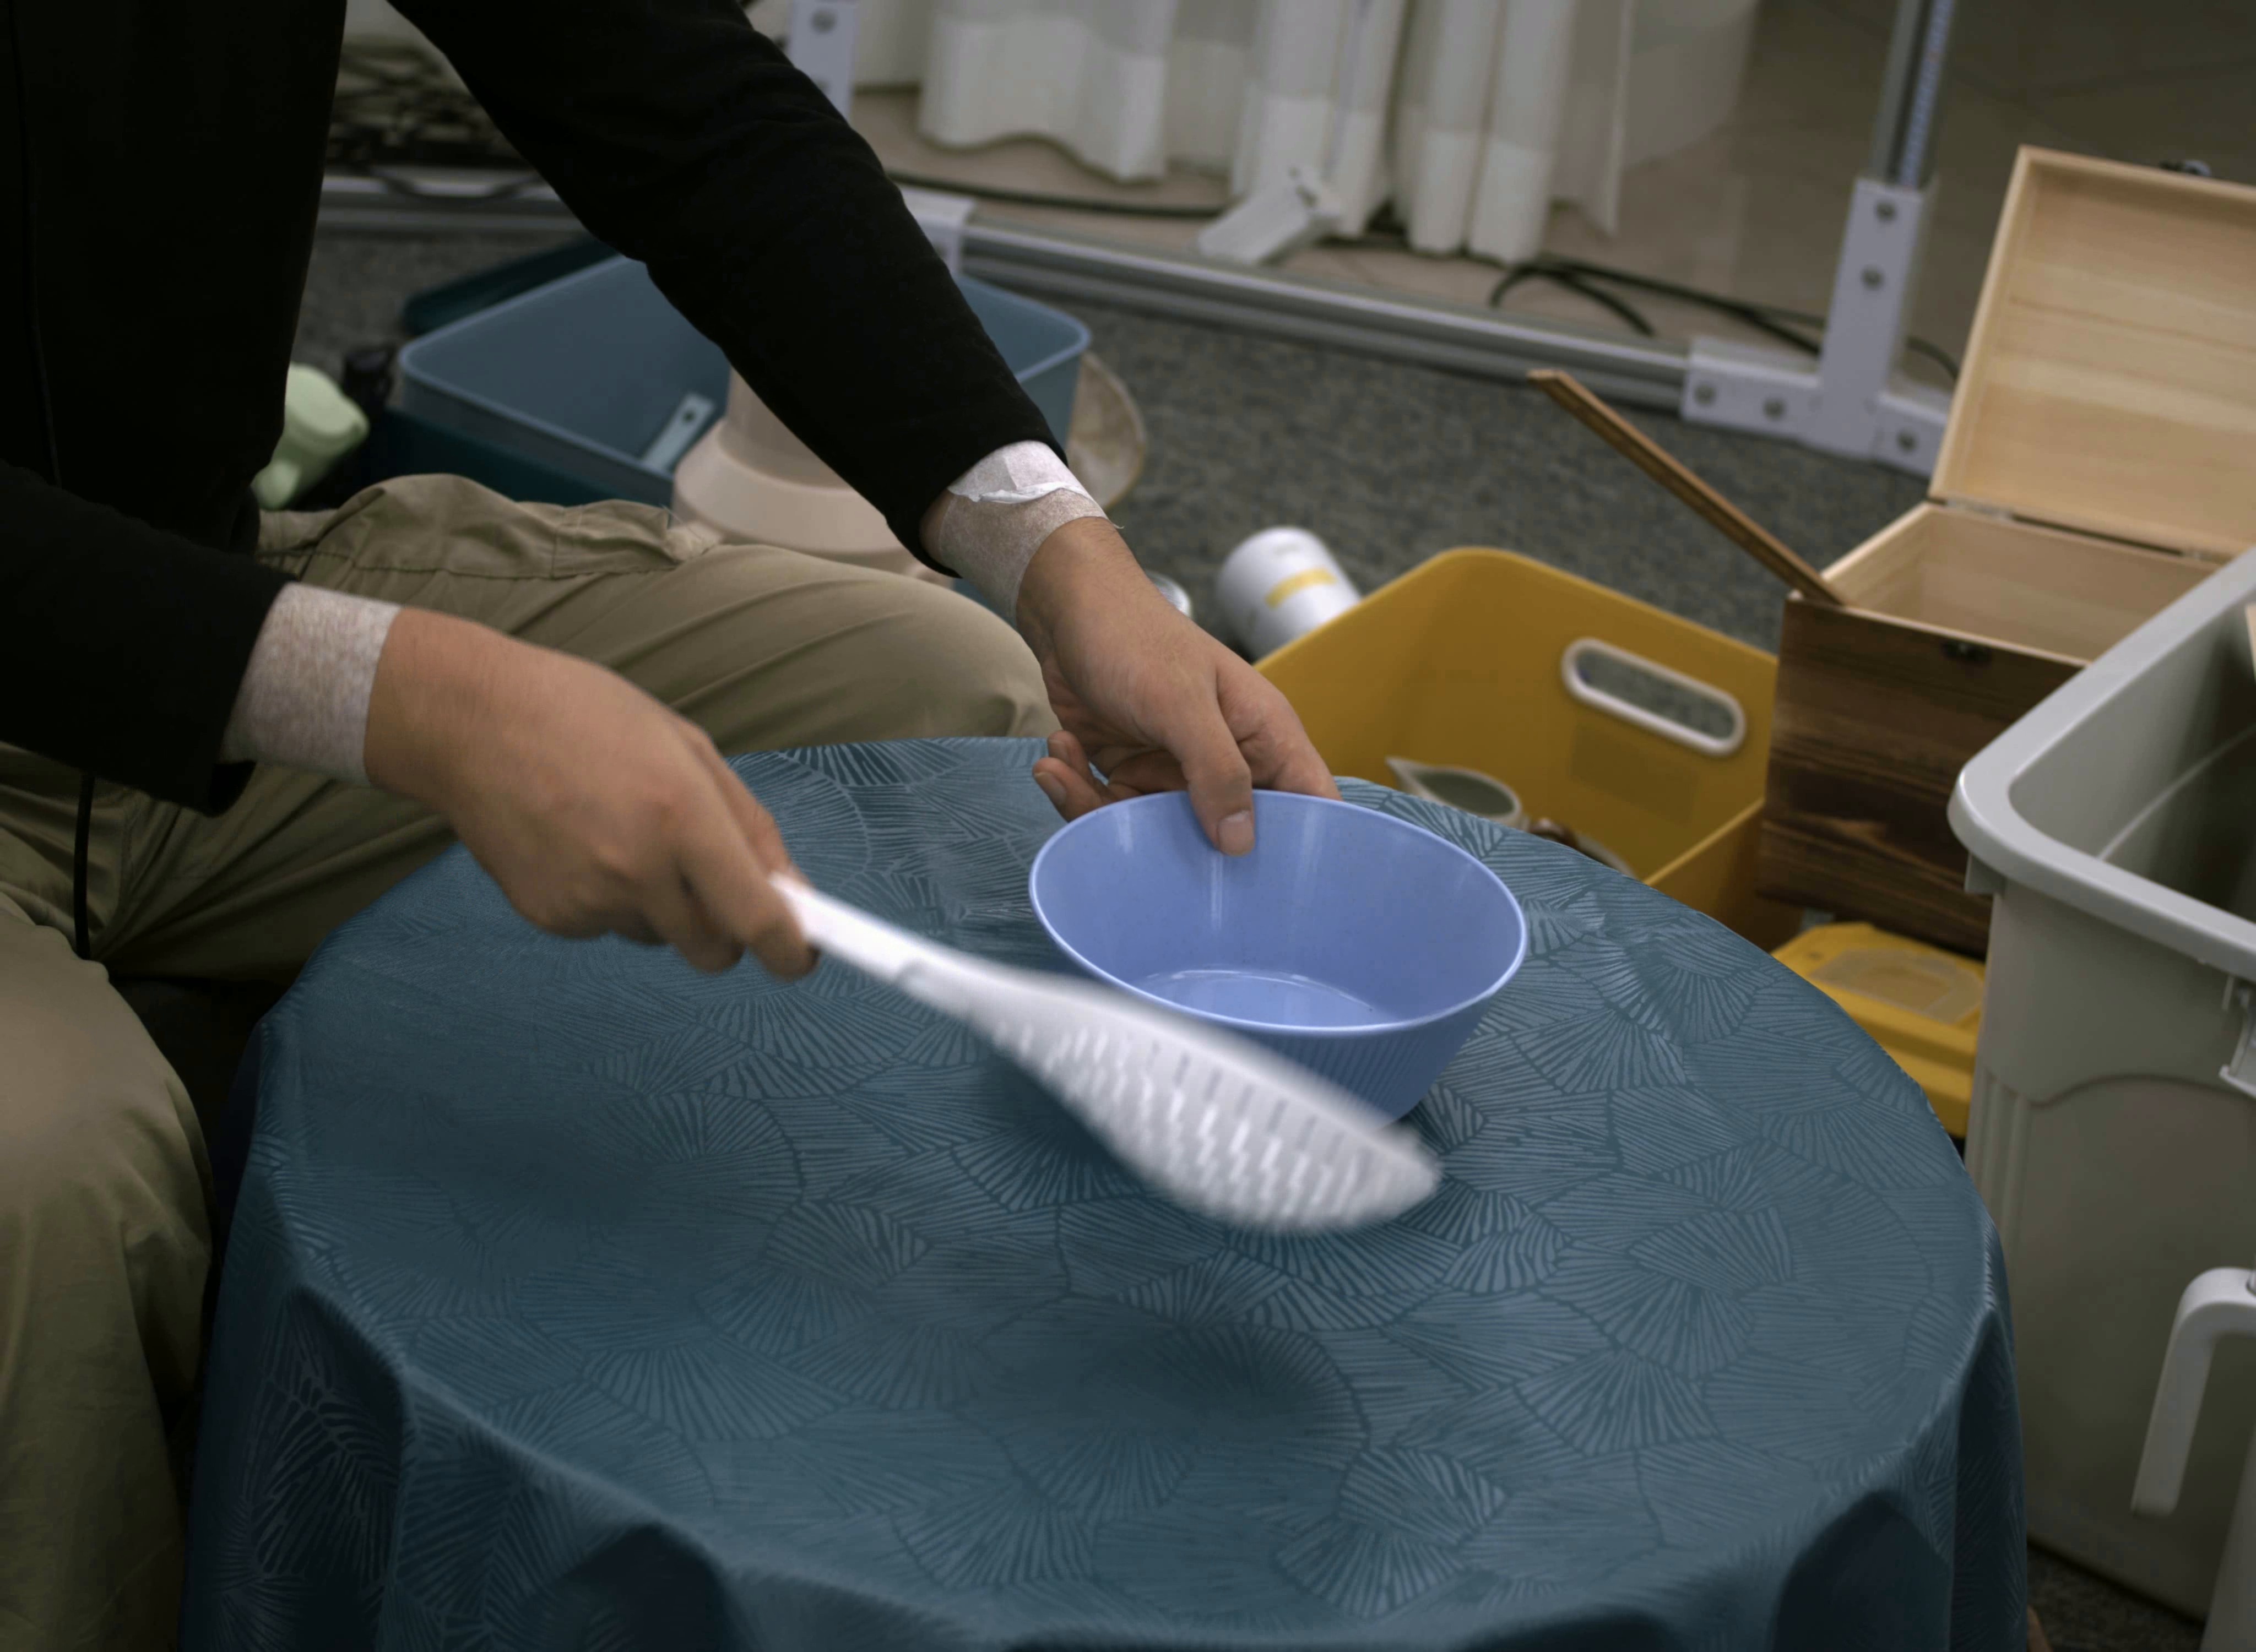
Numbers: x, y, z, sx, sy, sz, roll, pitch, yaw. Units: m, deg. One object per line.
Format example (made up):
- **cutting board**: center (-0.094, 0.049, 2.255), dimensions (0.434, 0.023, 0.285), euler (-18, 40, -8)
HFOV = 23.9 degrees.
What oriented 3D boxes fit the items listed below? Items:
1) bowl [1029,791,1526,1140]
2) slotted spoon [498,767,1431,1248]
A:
- **bowl**: center (0.049, 0.055, 1.870), dimensions (0.175, 0.070, 0.177), euler (5, 26, -3)
- **slotted spoon**: center (-0.060, 0.054, 1.714), dimensions (0.351, 0.046, 0.135), euler (29, -7, 23)
